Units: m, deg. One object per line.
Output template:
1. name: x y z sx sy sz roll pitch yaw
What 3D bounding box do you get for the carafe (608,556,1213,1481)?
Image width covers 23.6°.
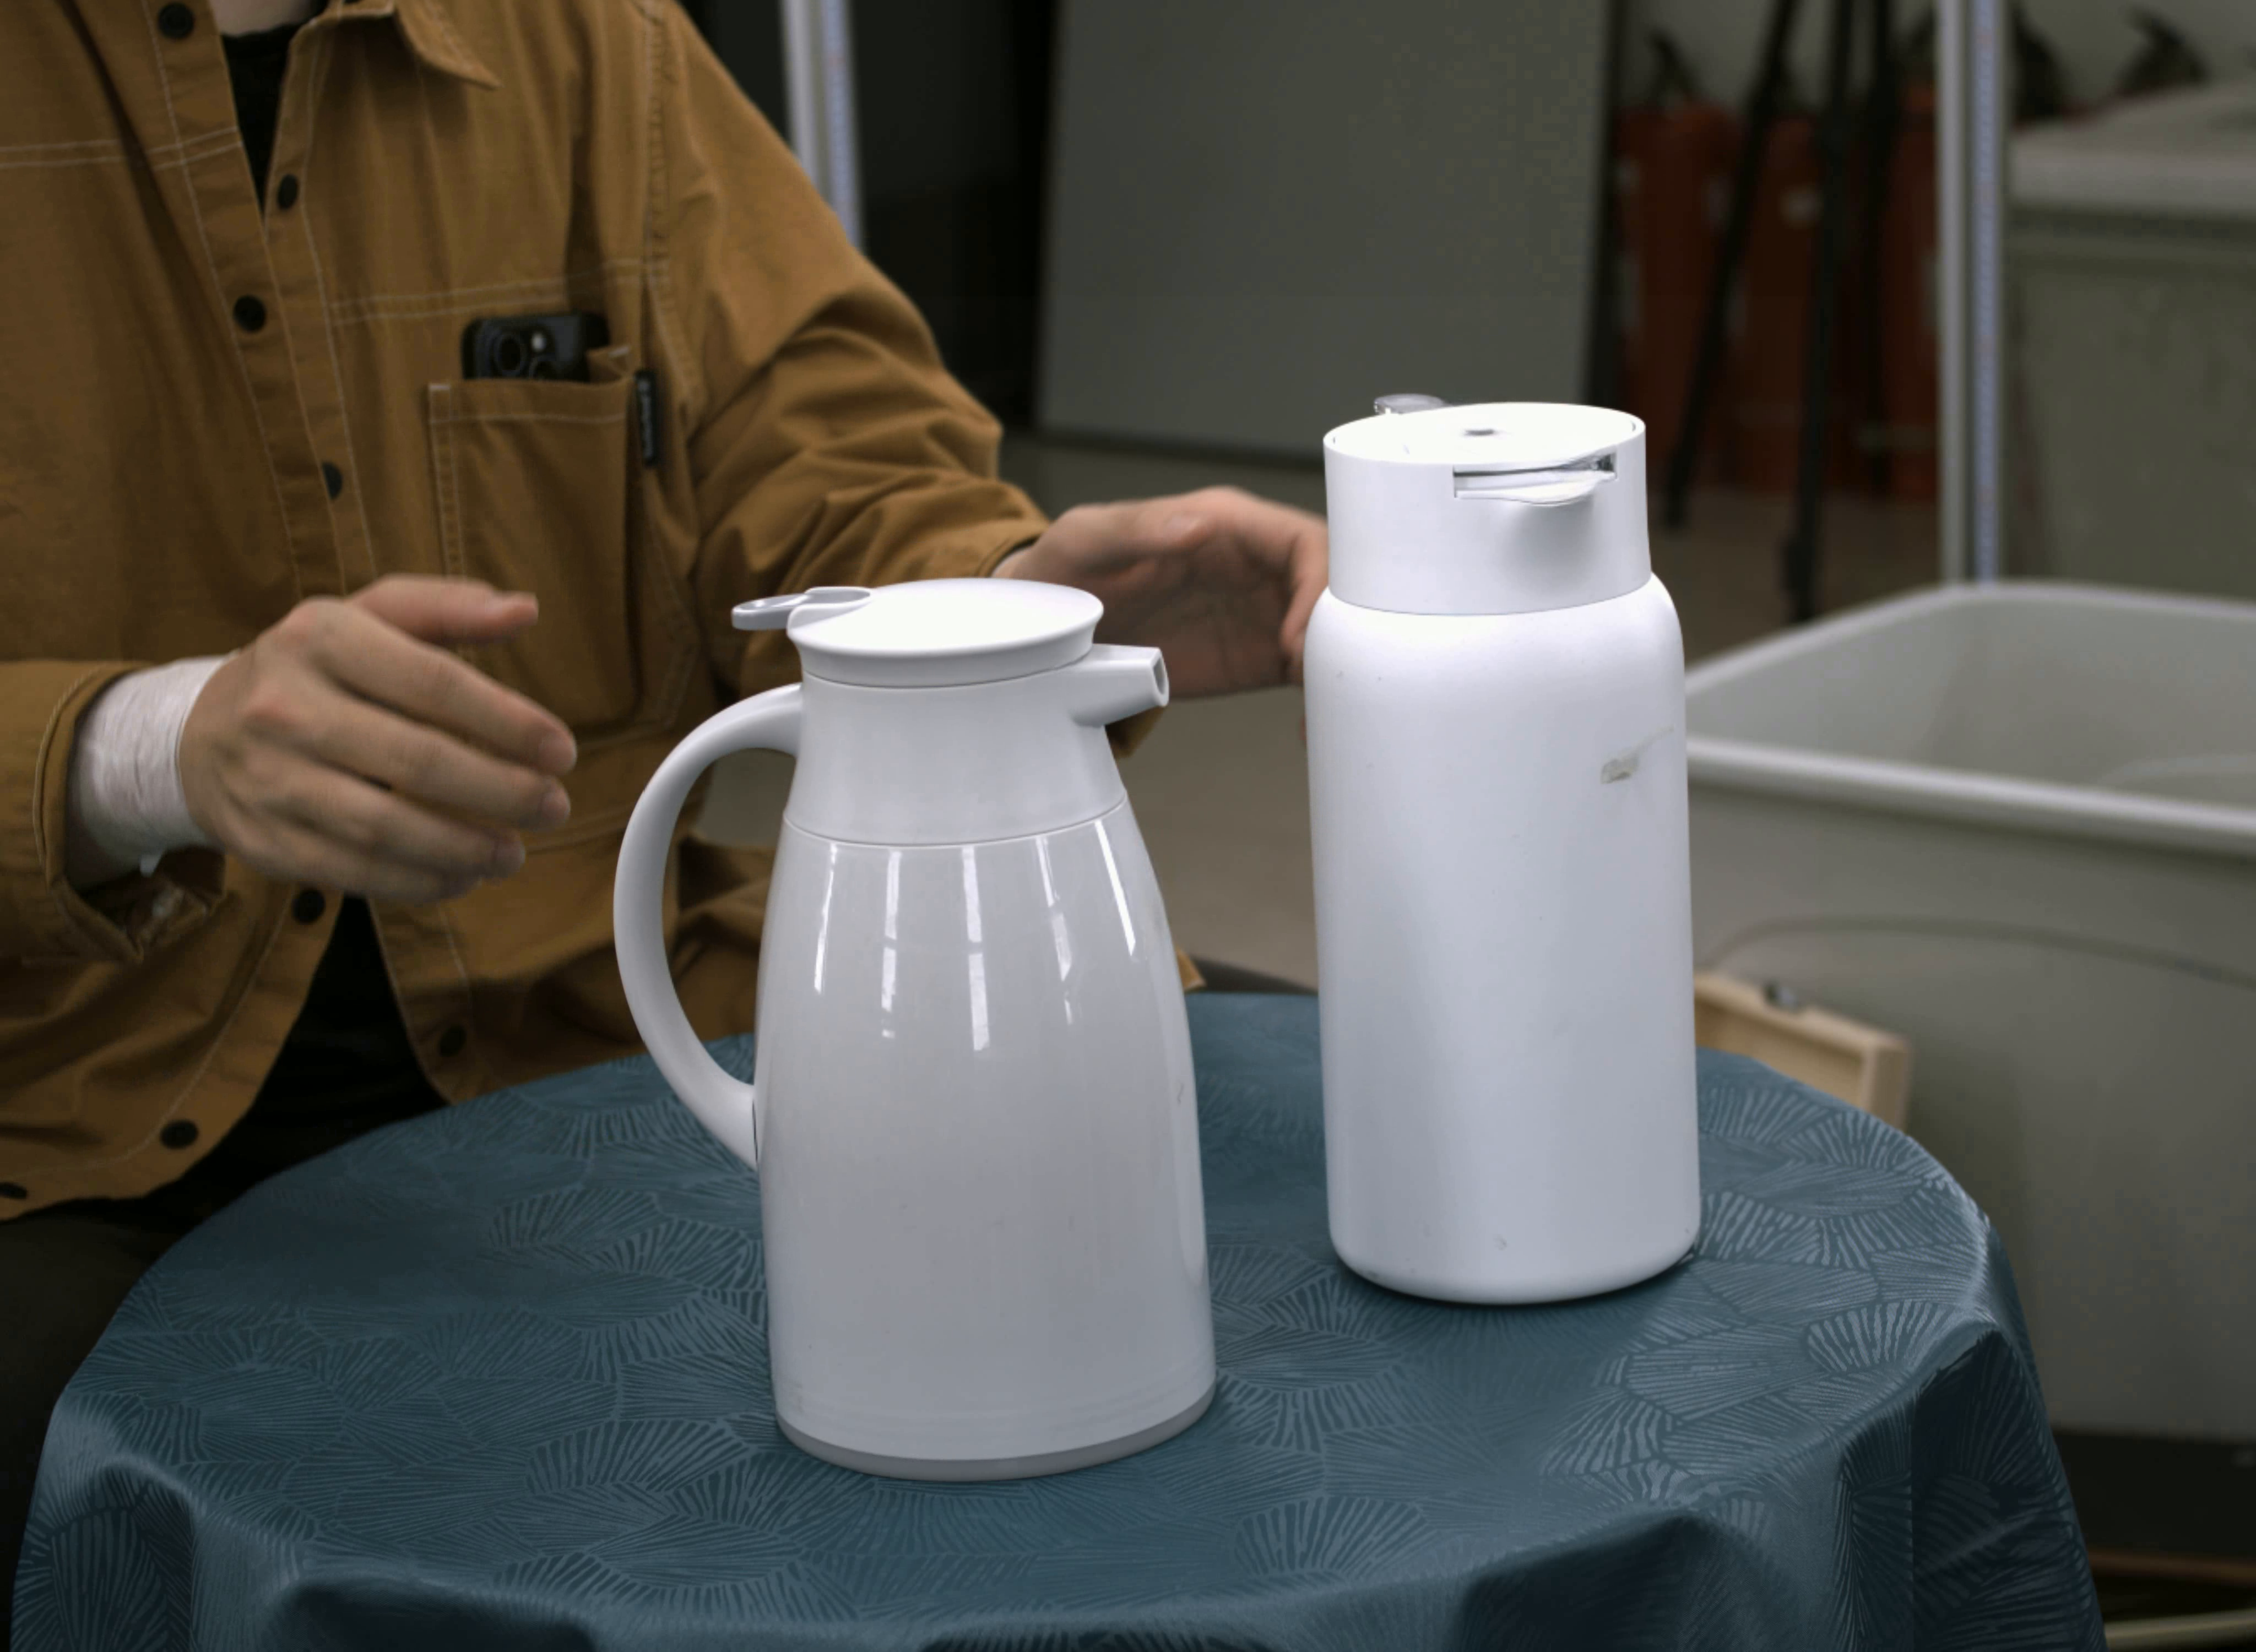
1. carafe: -0.066 0.050 1.562 0.166 0.251 0.132 -2 13 10

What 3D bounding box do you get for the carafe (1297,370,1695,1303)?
1. carafe: 0.106 0.000 1.670 0.121 0.272 0.174 -10 14 -17
